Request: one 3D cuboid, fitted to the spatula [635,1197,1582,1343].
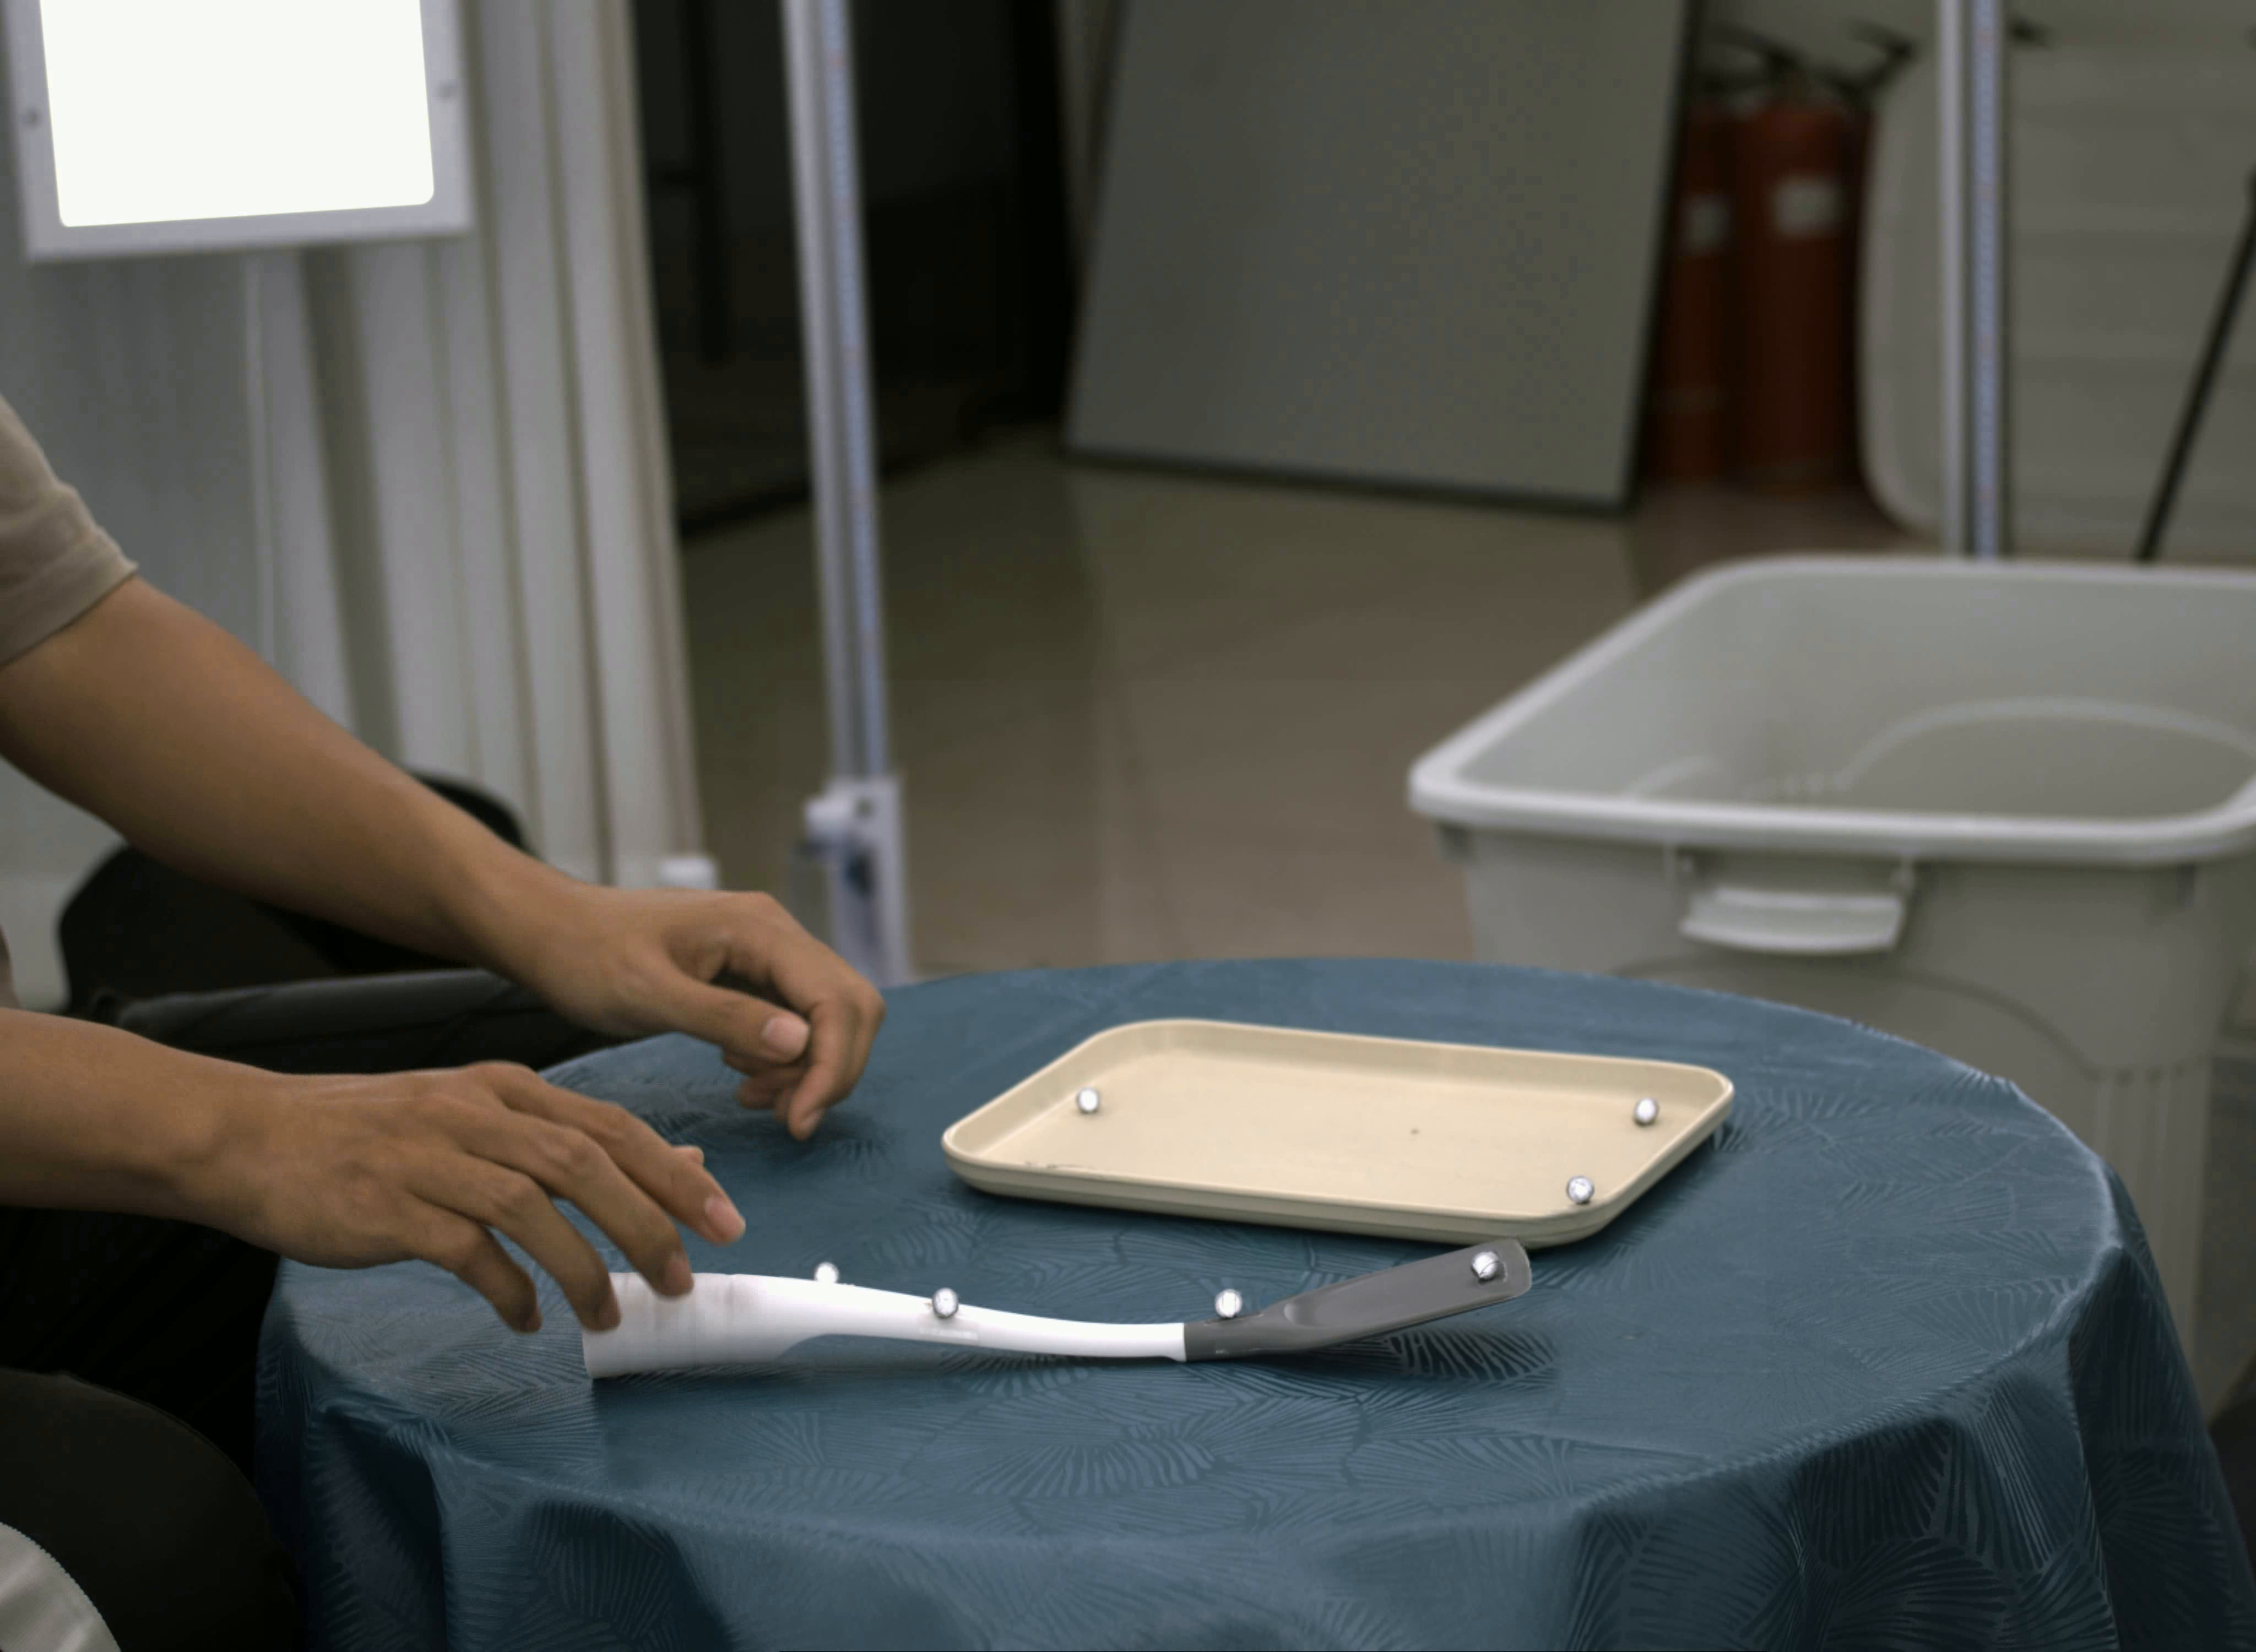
[{"bbox_3d":[-0.005,0.134,1.621,0.284,0.032,0.058,-3,10,5],"label":"spatula"}]

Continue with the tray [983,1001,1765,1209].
[{"bbox_3d":[0.083,0.093,1.804,0.240,0.017,0.169,3,14,27],"label":"tray"}]
